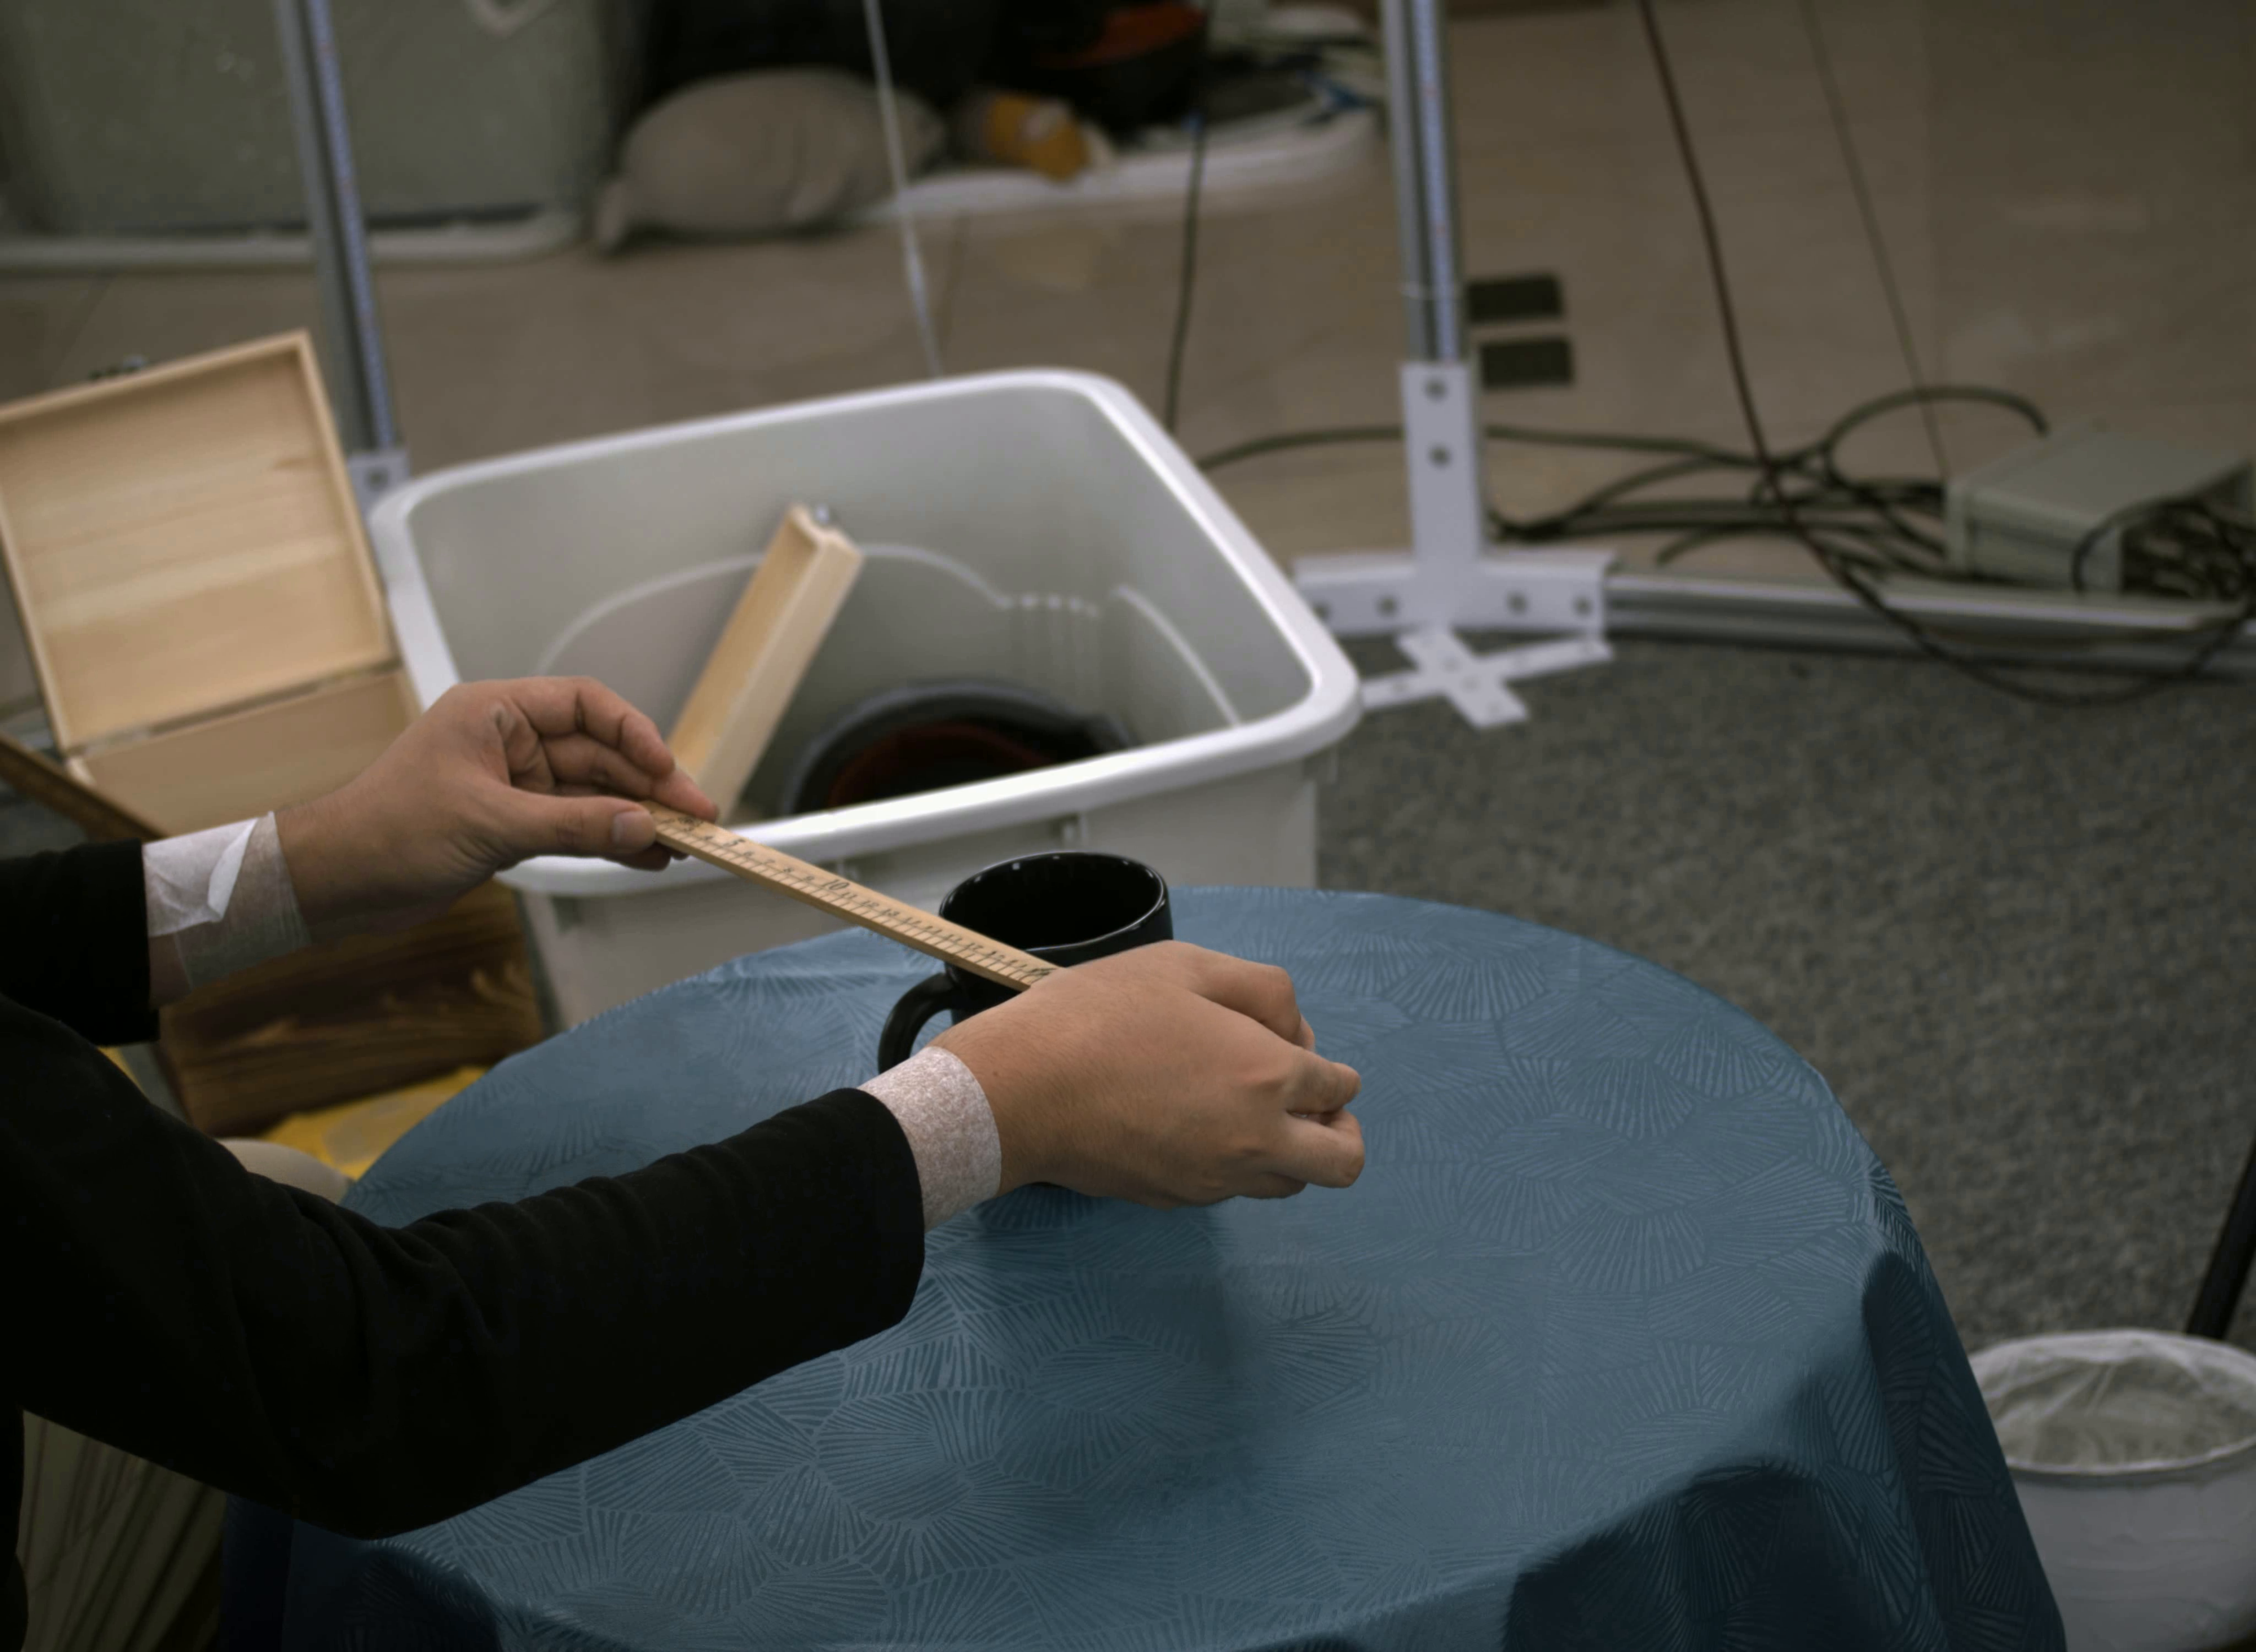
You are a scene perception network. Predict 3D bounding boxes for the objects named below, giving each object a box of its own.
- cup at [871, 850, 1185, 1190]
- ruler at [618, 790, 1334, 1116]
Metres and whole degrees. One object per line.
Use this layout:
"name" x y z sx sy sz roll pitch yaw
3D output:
"cup" -0.040 0.078 2.164 0.123 0.107 0.087 -15 29 -20
"ruler" -0.061 0.042 2.107 0.329 0.022 0.027 23 20 32
